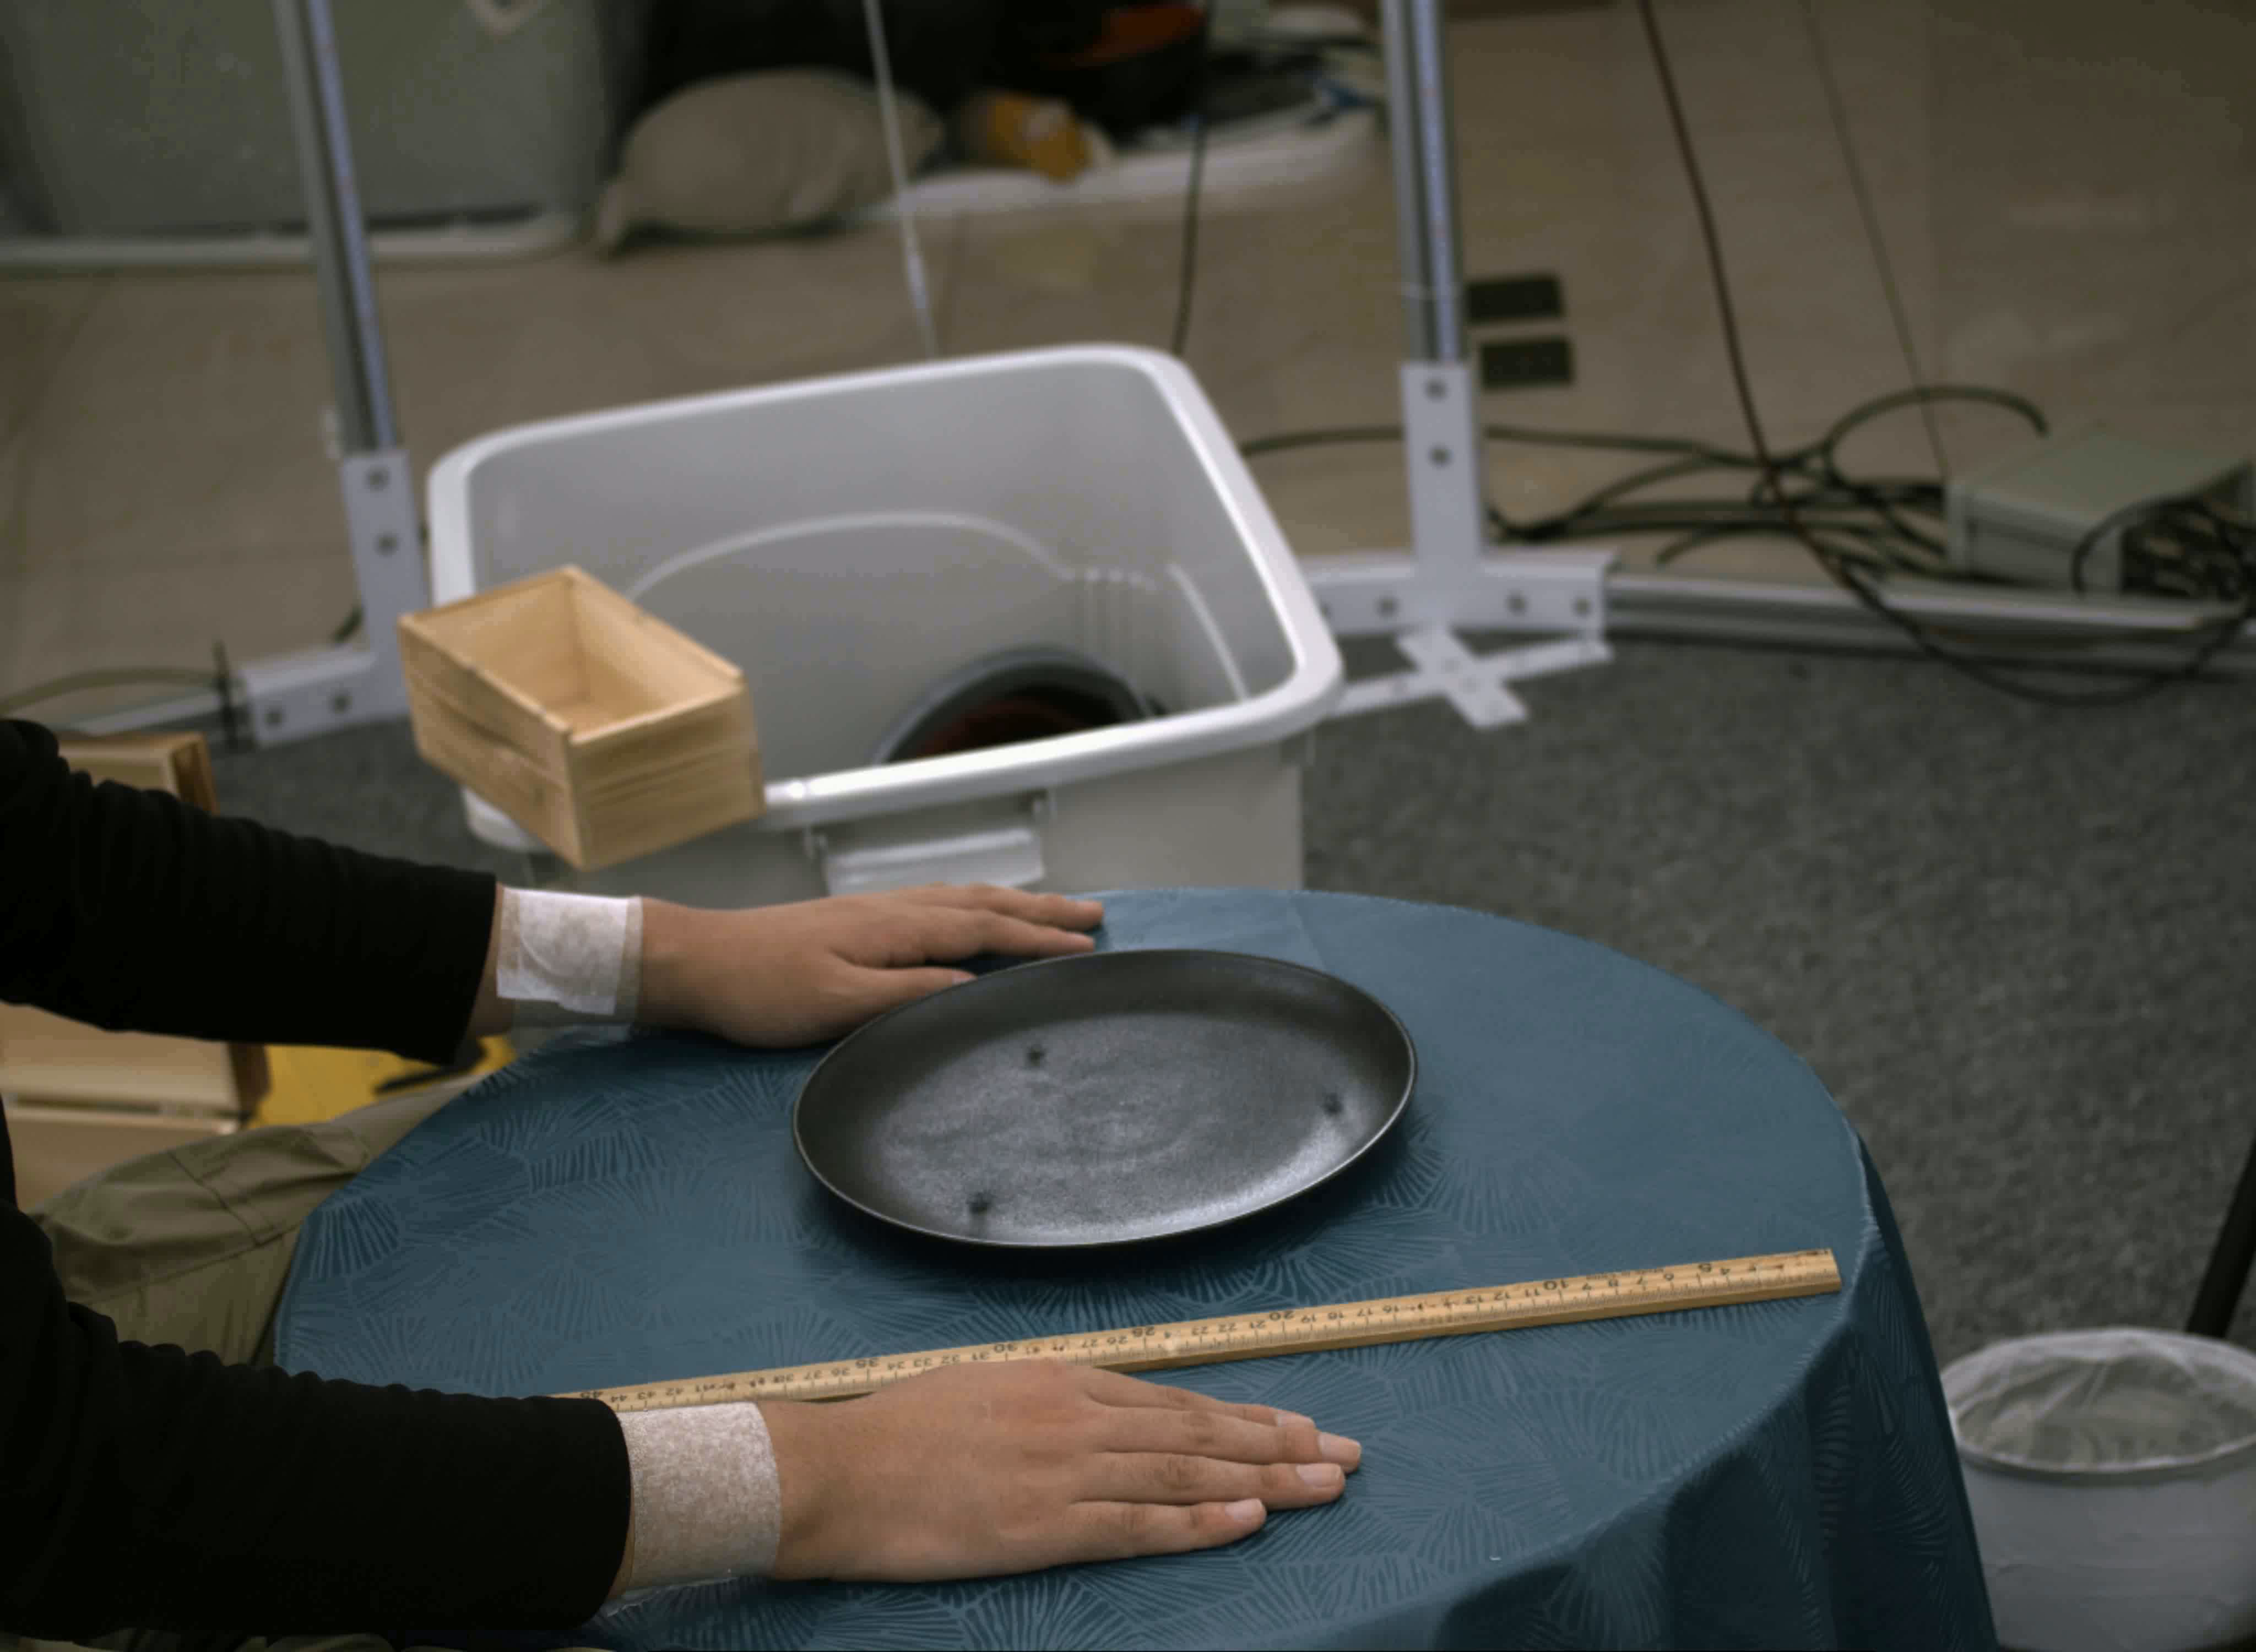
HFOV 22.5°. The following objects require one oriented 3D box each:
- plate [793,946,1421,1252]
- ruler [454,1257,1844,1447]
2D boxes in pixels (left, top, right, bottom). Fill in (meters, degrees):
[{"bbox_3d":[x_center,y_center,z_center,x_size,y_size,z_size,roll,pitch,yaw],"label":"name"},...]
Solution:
[{"bbox_3d":[-0.008,0.110,2.184,0.244,0.024,0.241,-5,25,3],"label":"plate"},{"bbox_3d":[0.006,0.188,2.037,0.499,0.006,0.026,-6,23,1],"label":"ruler"}]
